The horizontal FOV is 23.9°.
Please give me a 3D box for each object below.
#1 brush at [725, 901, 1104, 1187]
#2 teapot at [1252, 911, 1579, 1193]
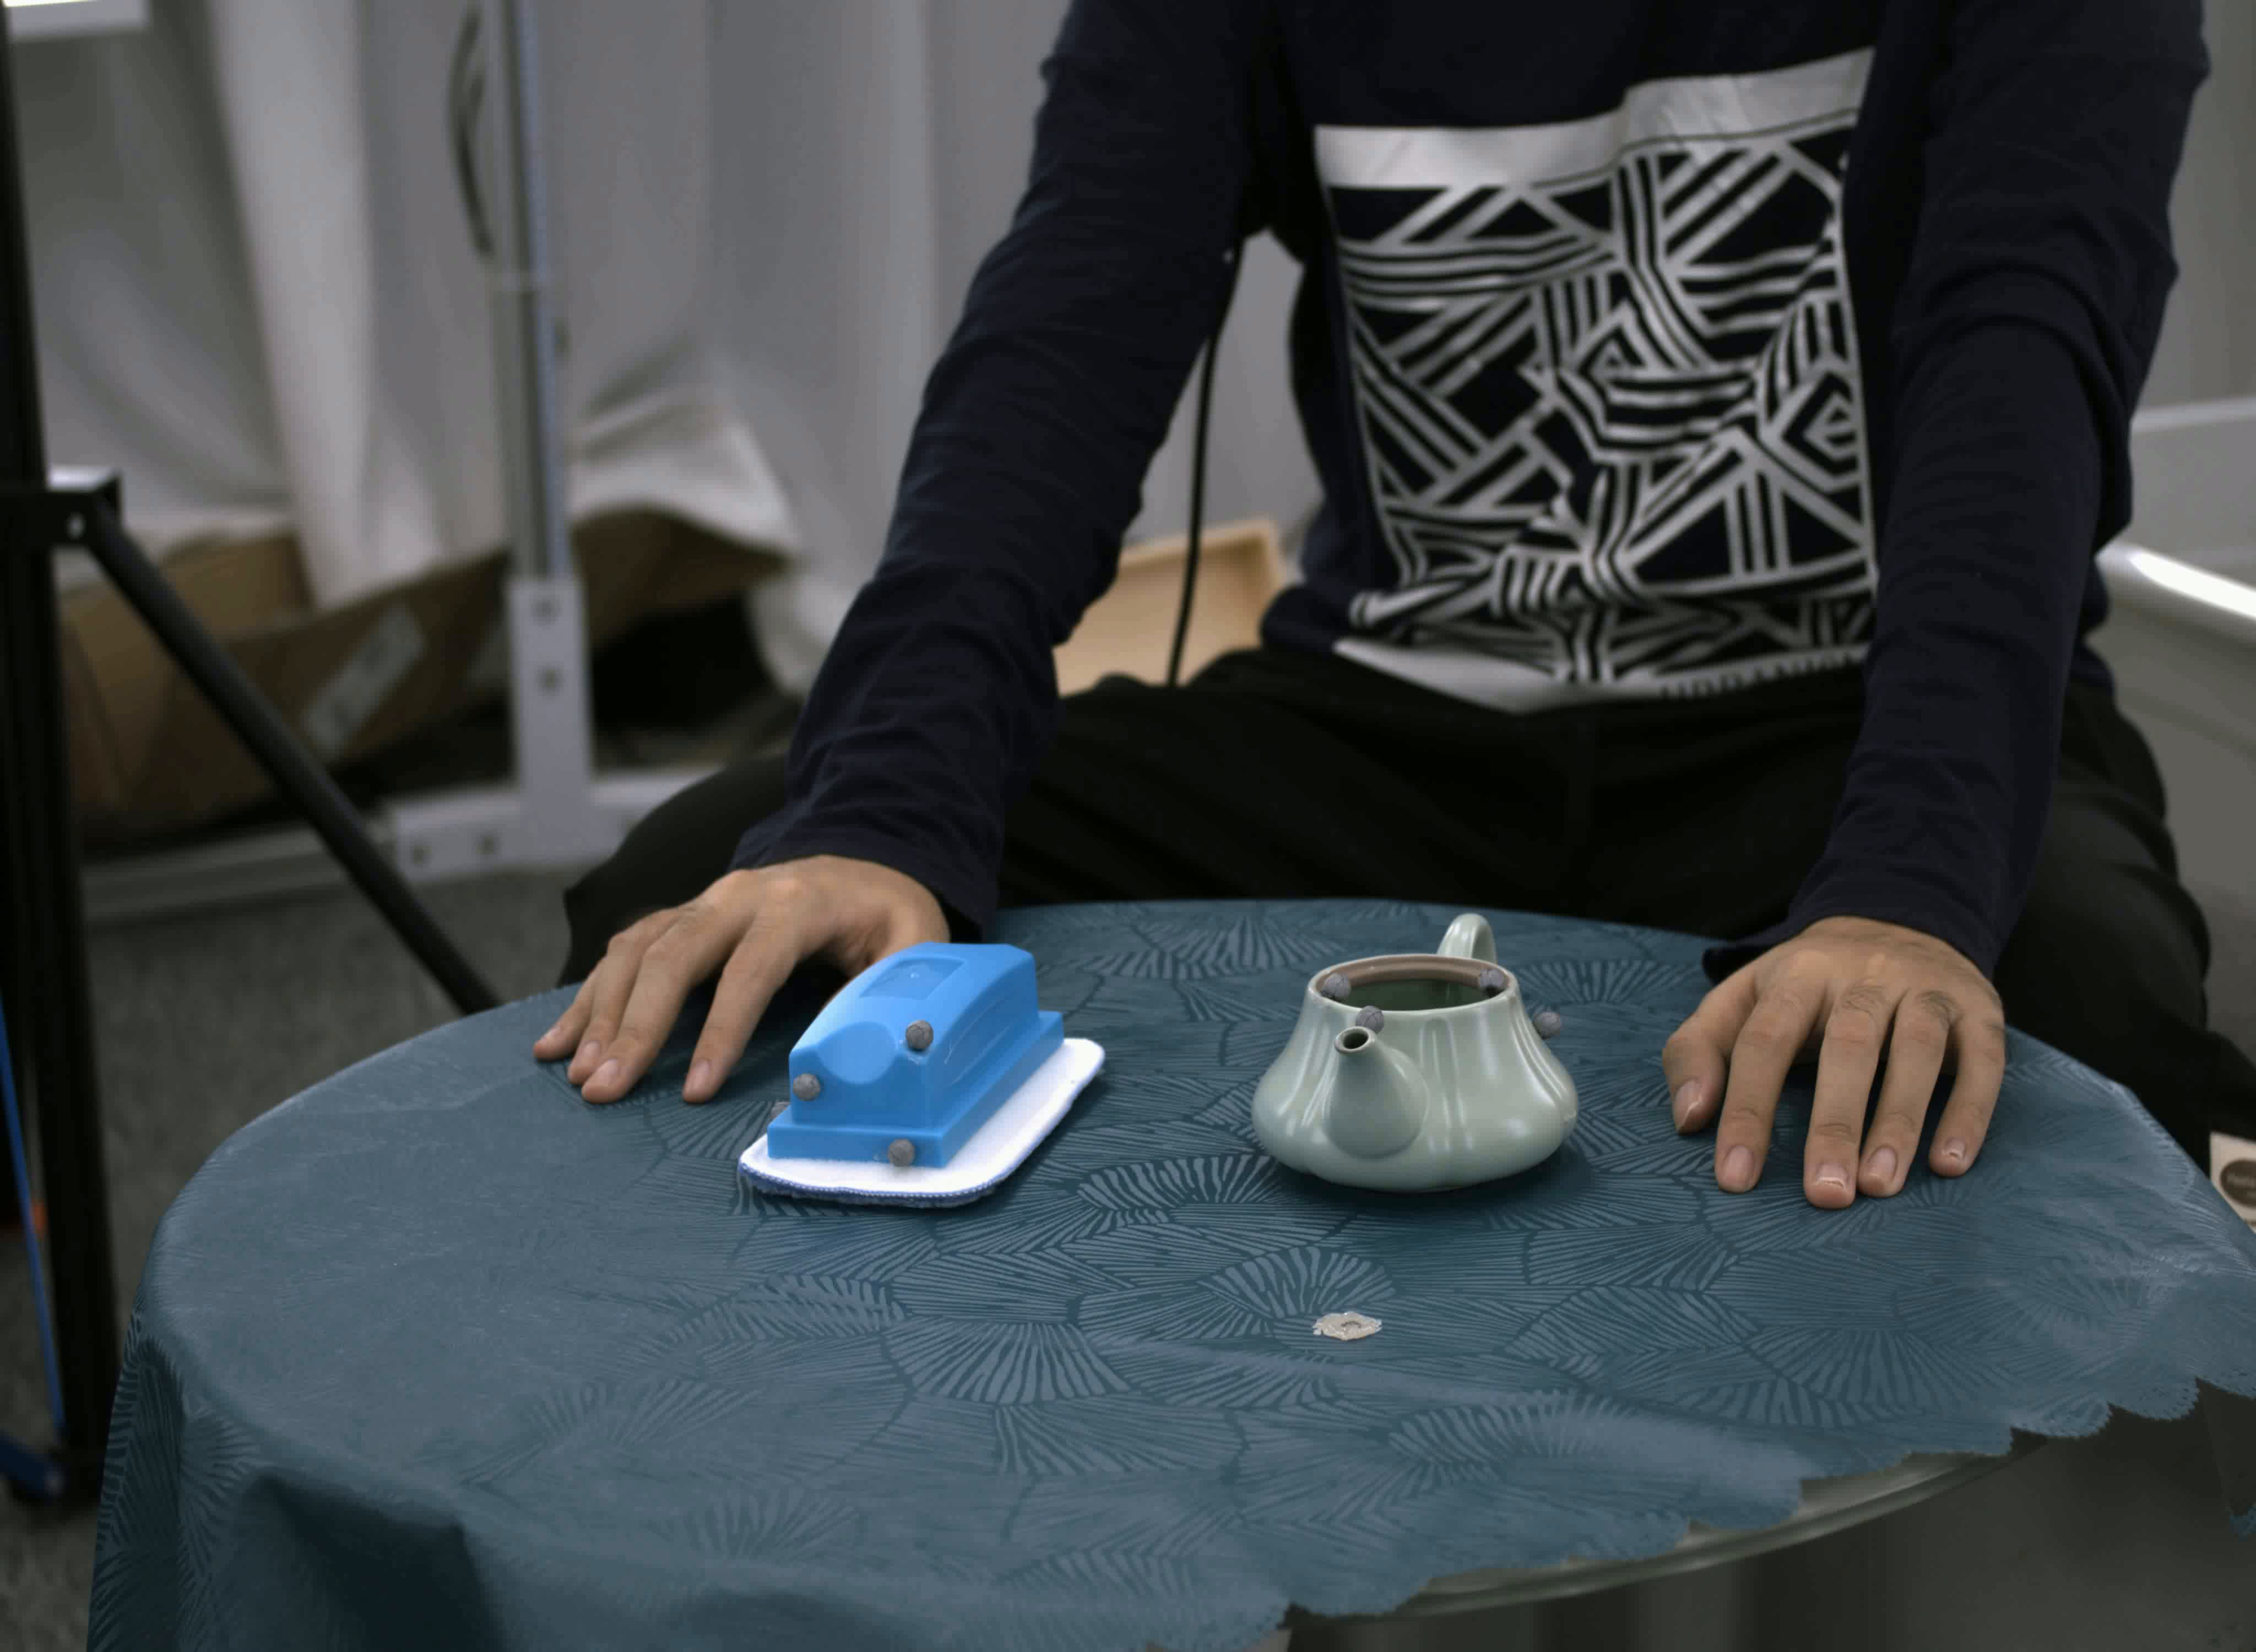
[{"bbox_3d":[-0.063,0.062,1.619,0.085,0.056,0.142,6,20,18],"label":"brush"},{"bbox_3d":[0.086,0.070,1.571,0.097,0.061,0.135,1,17,19],"label":"teapot"}]
